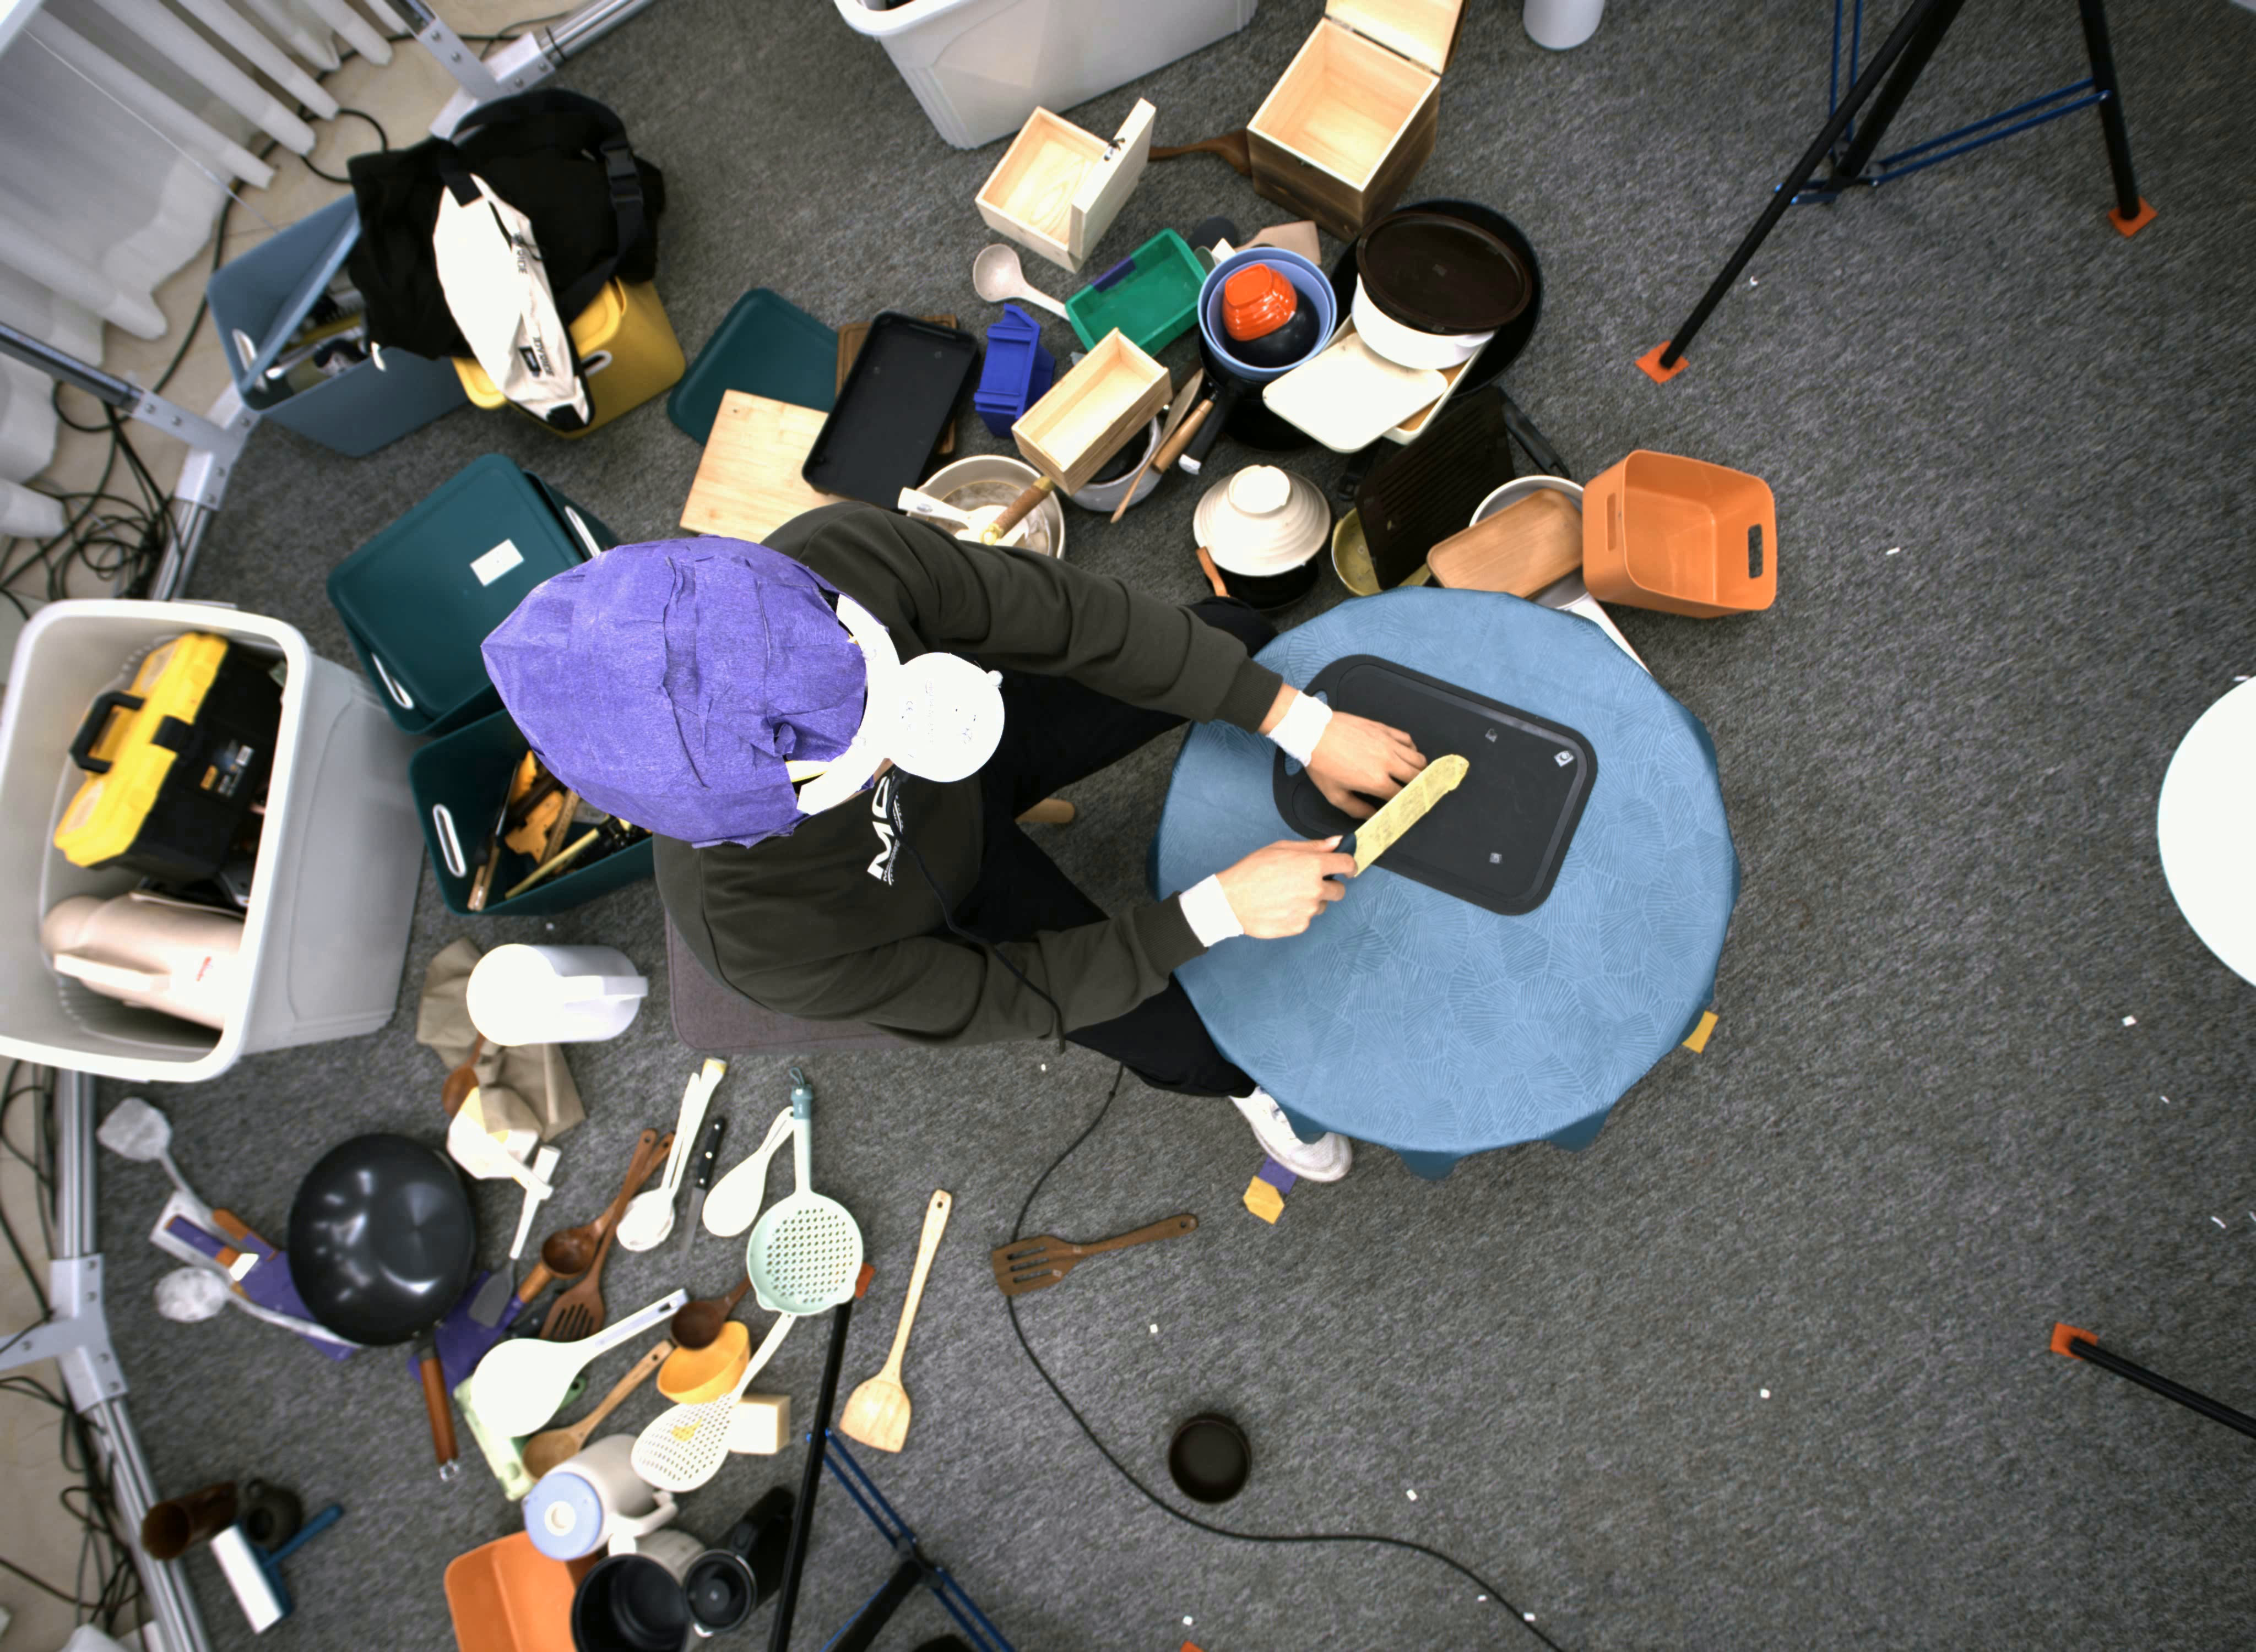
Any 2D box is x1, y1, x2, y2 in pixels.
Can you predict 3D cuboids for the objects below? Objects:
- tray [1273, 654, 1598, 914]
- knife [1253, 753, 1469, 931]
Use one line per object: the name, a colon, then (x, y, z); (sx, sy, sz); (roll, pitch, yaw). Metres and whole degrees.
tray: (0.316, -0.051, 1.454); (0.325, 0.010, 0.211); (22, 91, 11)
knife: (0.242, 0.016, 1.401); (0.288, 0.082, 0.027); (-38, 54, -8)
